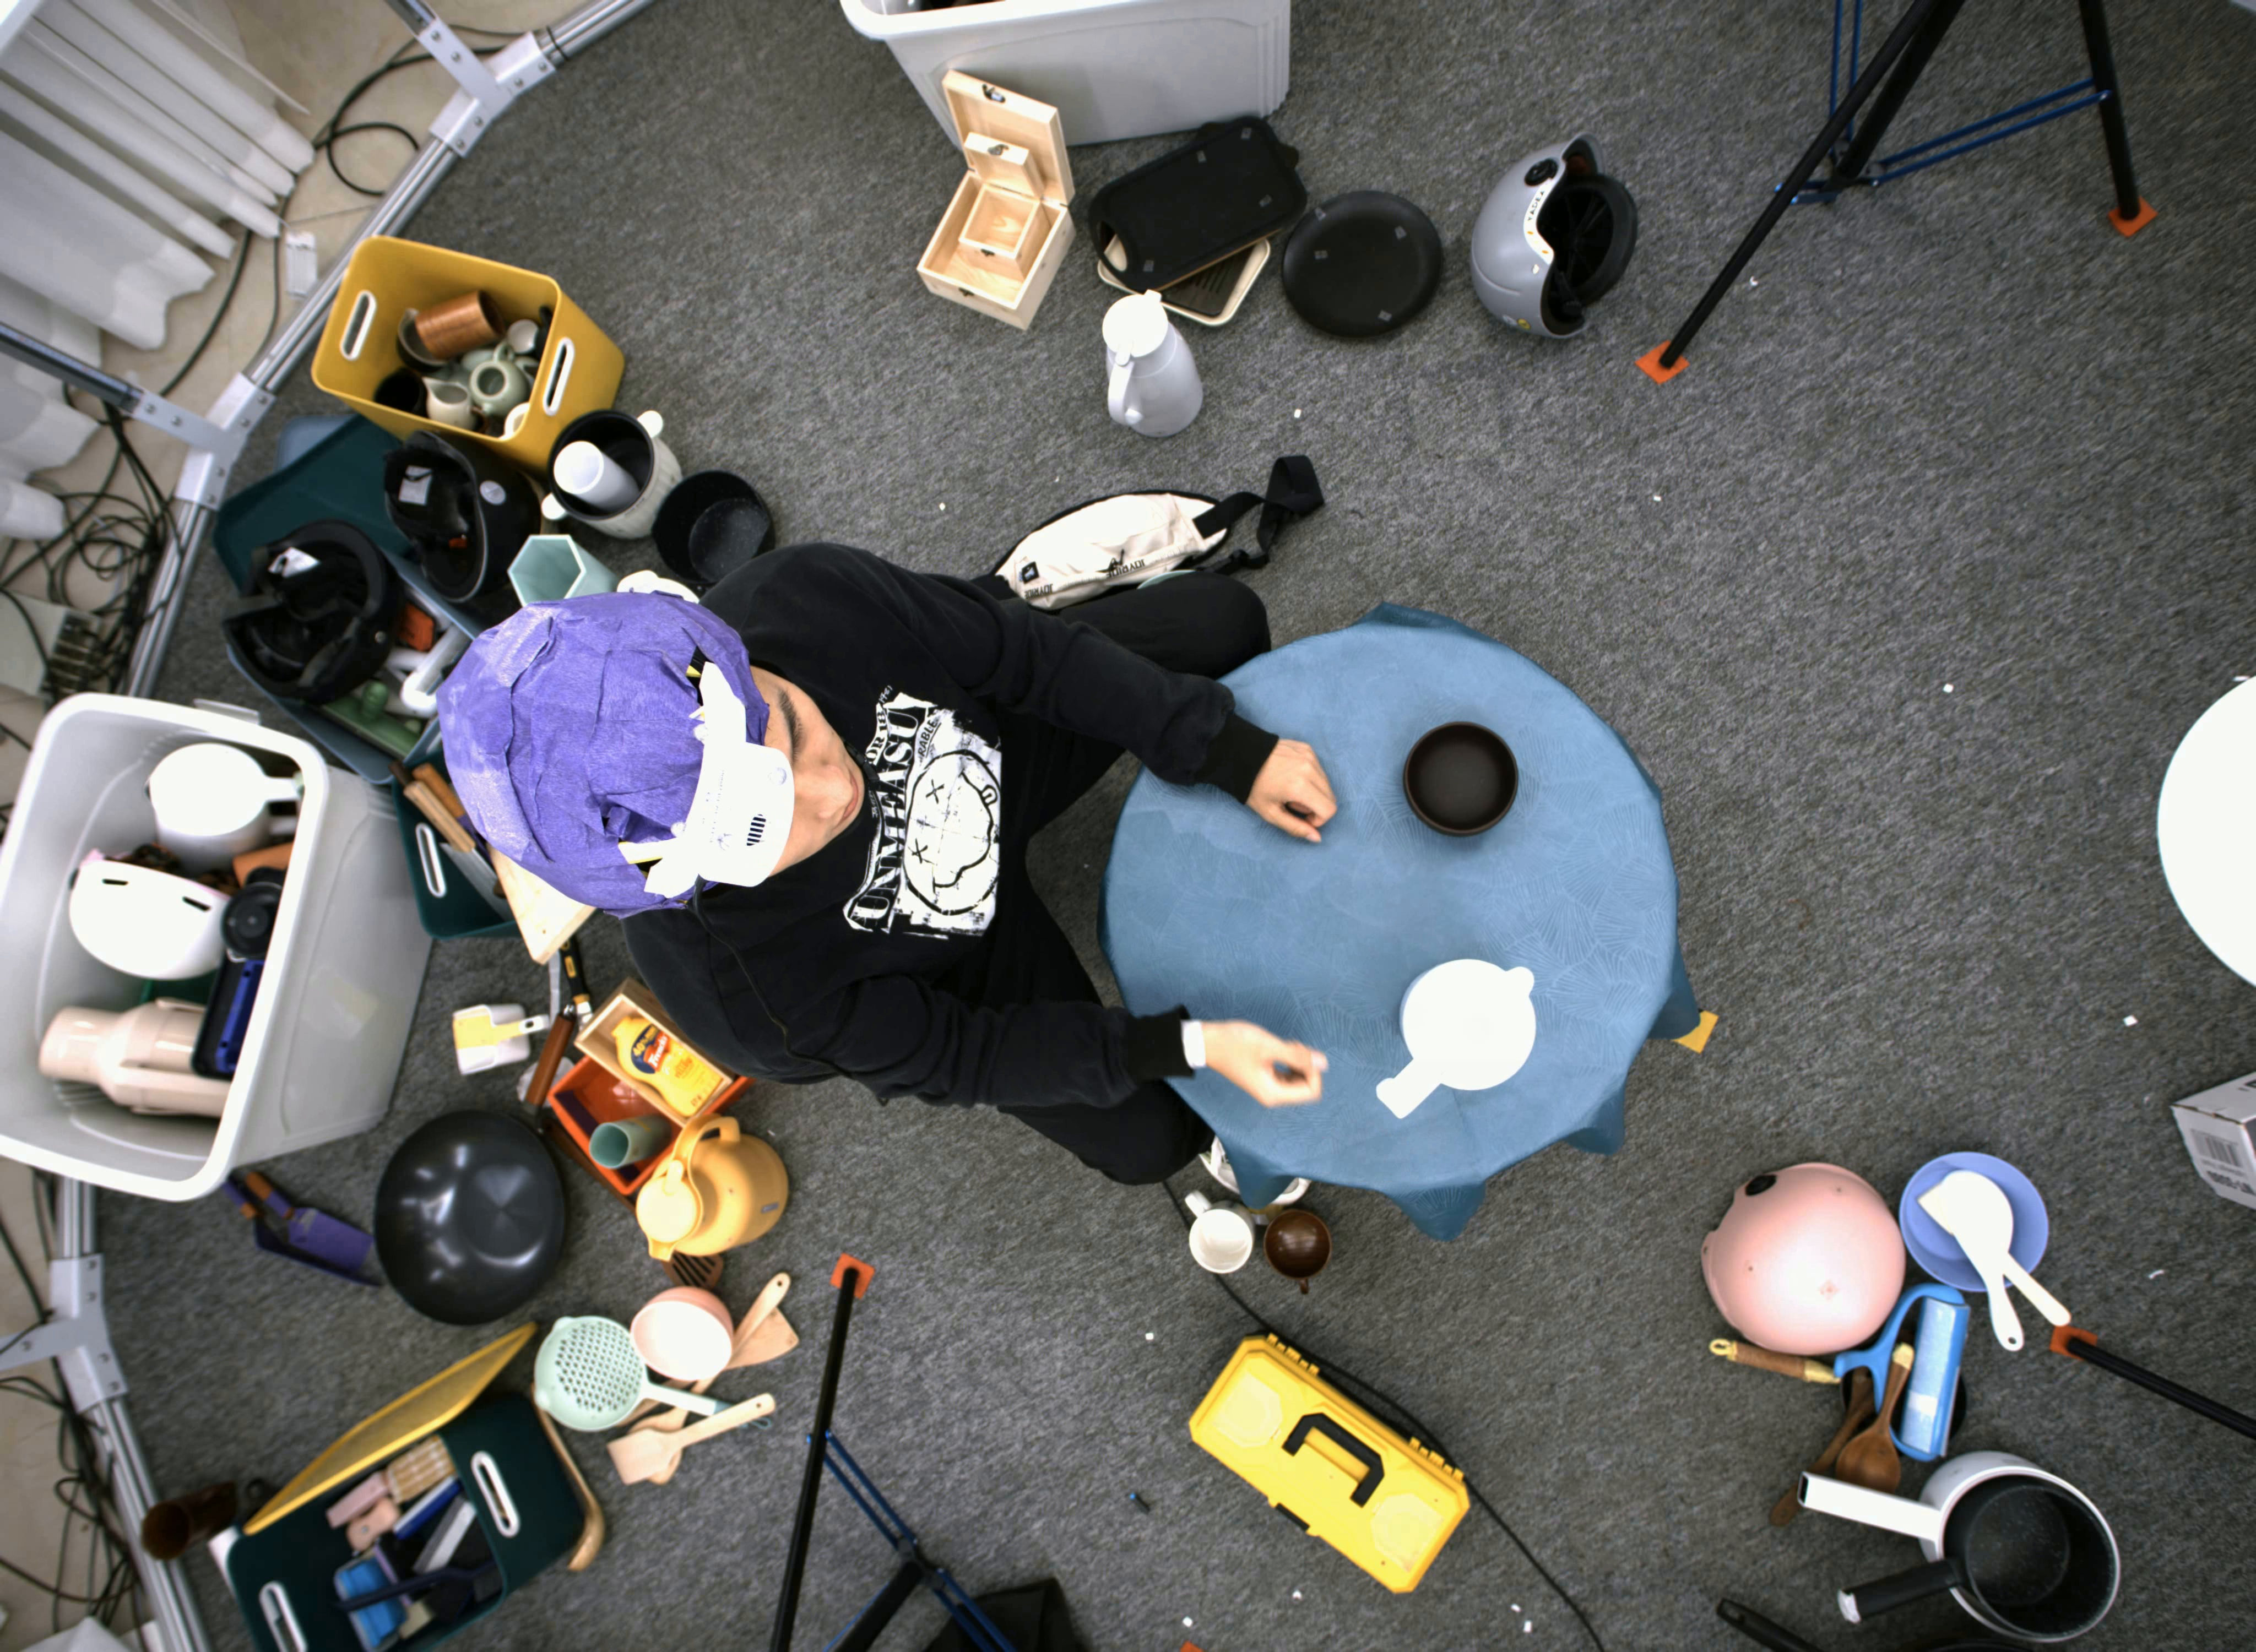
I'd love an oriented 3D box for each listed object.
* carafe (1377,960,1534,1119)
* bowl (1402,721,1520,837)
[{"bbox_3d":[0.308,0.199,1.312,0.123,0.269,0.173,44,94,9],"label":"carafe"},{"bbox_3d":[0.341,-0.048,1.416,0.118,0.070,0.117,-1,87,11],"label":"bowl"}]
